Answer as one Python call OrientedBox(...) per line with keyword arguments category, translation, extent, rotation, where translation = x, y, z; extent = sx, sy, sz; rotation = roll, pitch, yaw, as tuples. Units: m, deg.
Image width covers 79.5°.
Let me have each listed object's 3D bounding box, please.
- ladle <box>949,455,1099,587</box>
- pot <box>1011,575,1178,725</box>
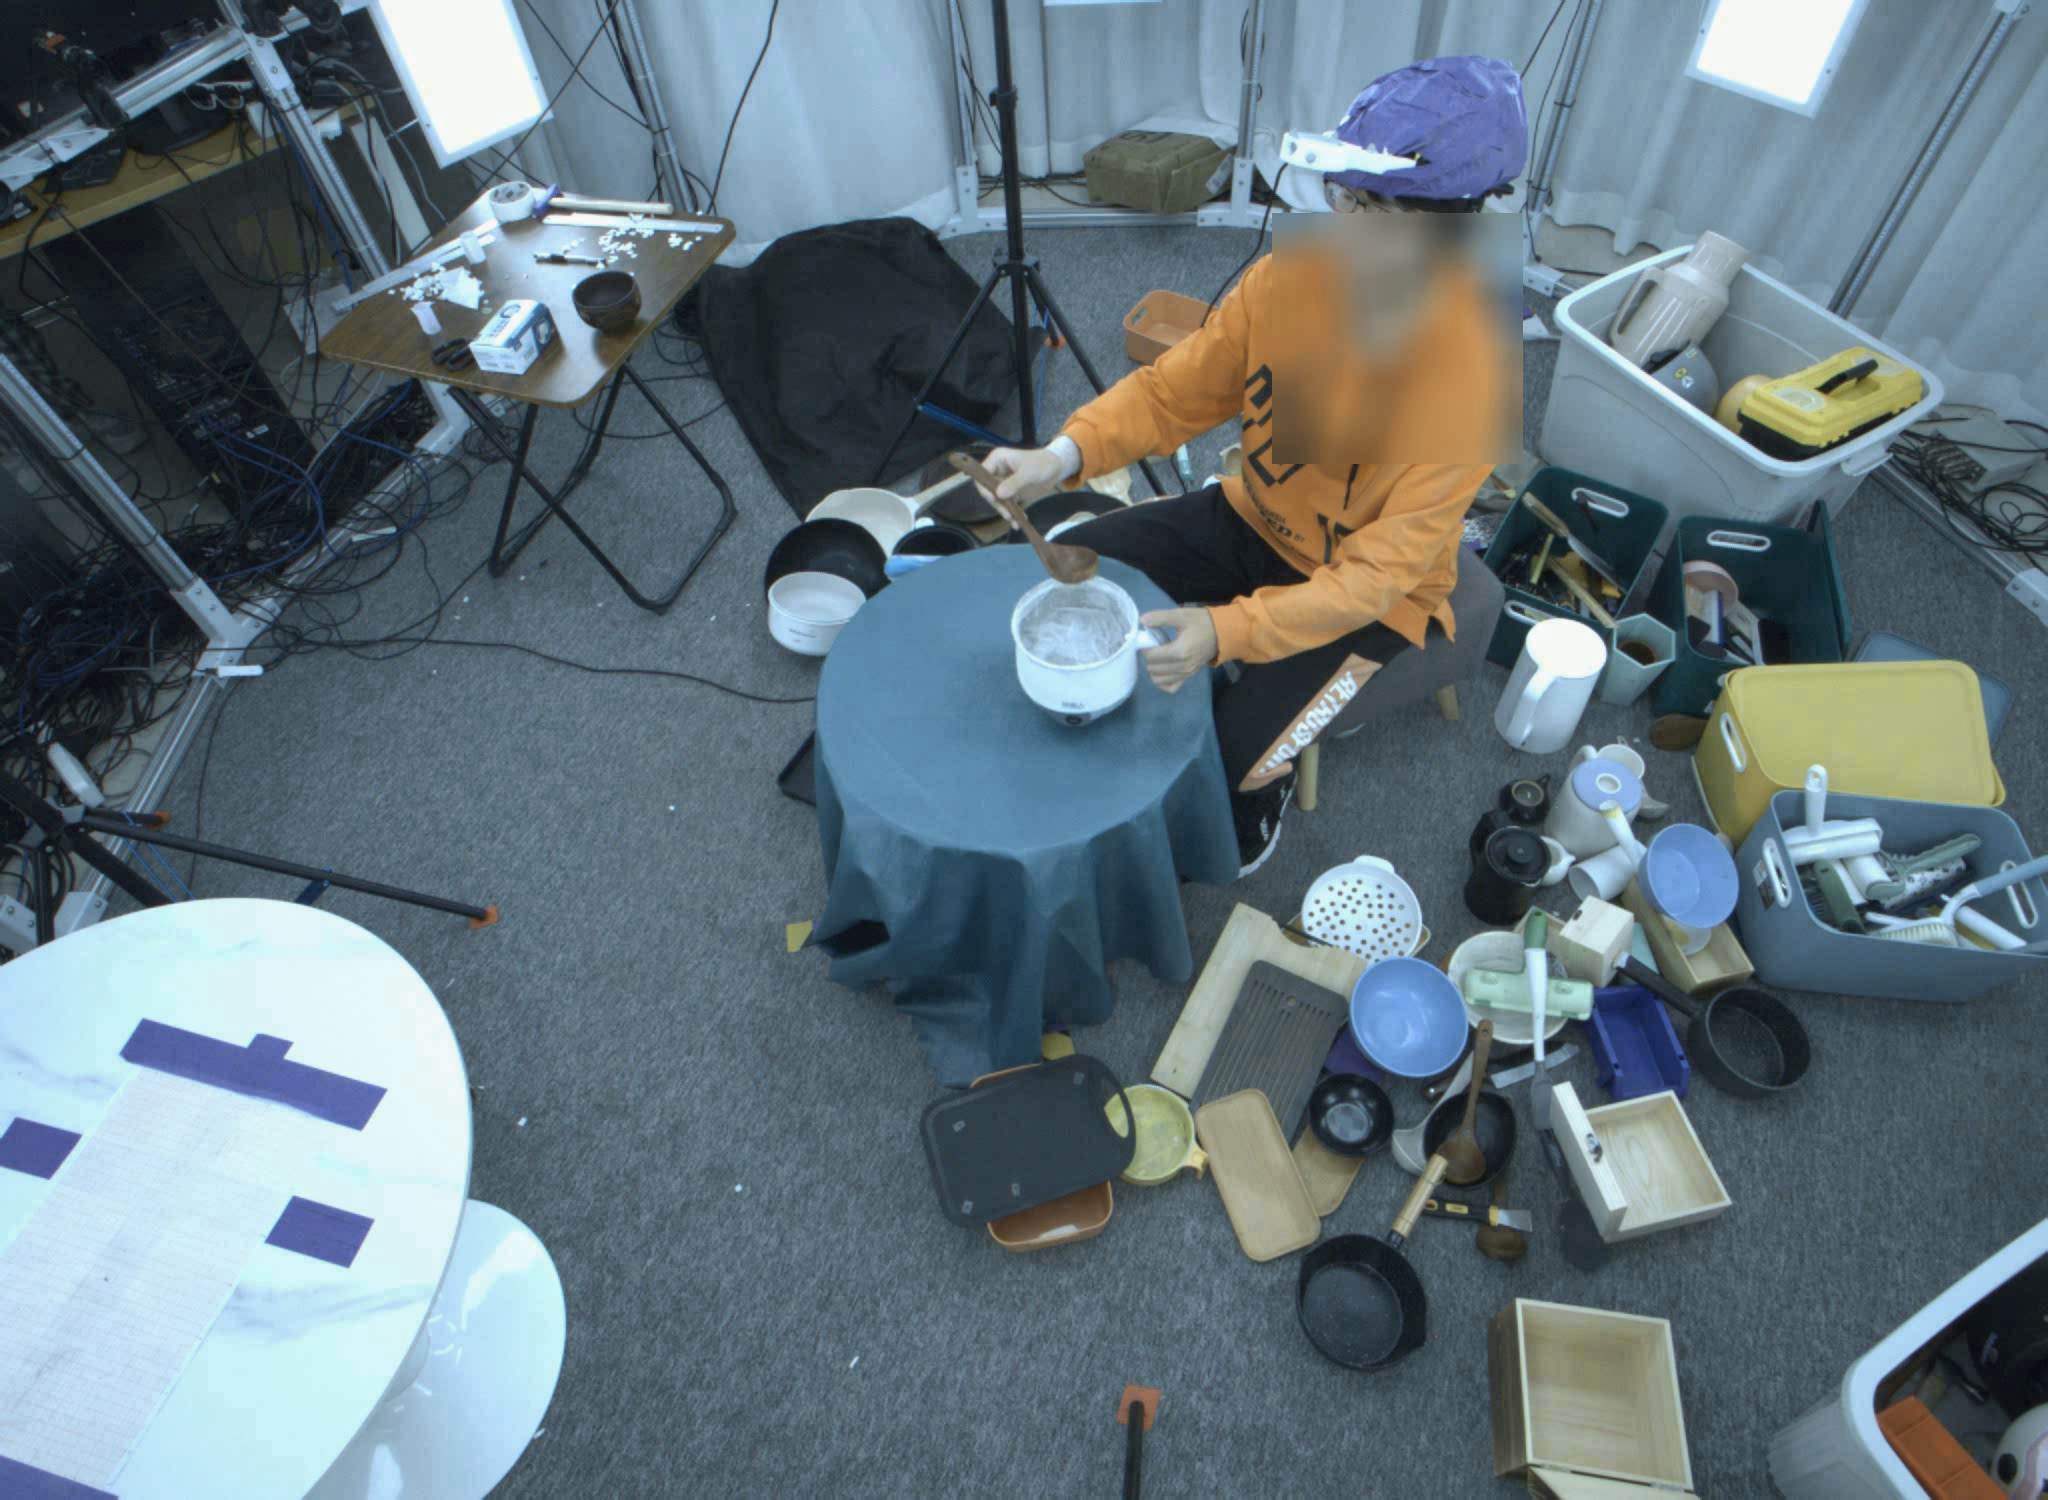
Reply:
OrientedBox(category="ladle", translation=(-0.002, -0.323, 1.677), extent=(0.261, 0.064, 0.077), rotation=(47, 47, -5))
OrientedBox(category="pot", translation=(0.103, -0.142, 1.754), extent=(0.233, 0.138, 0.177), rotation=(1, 56, 5))
